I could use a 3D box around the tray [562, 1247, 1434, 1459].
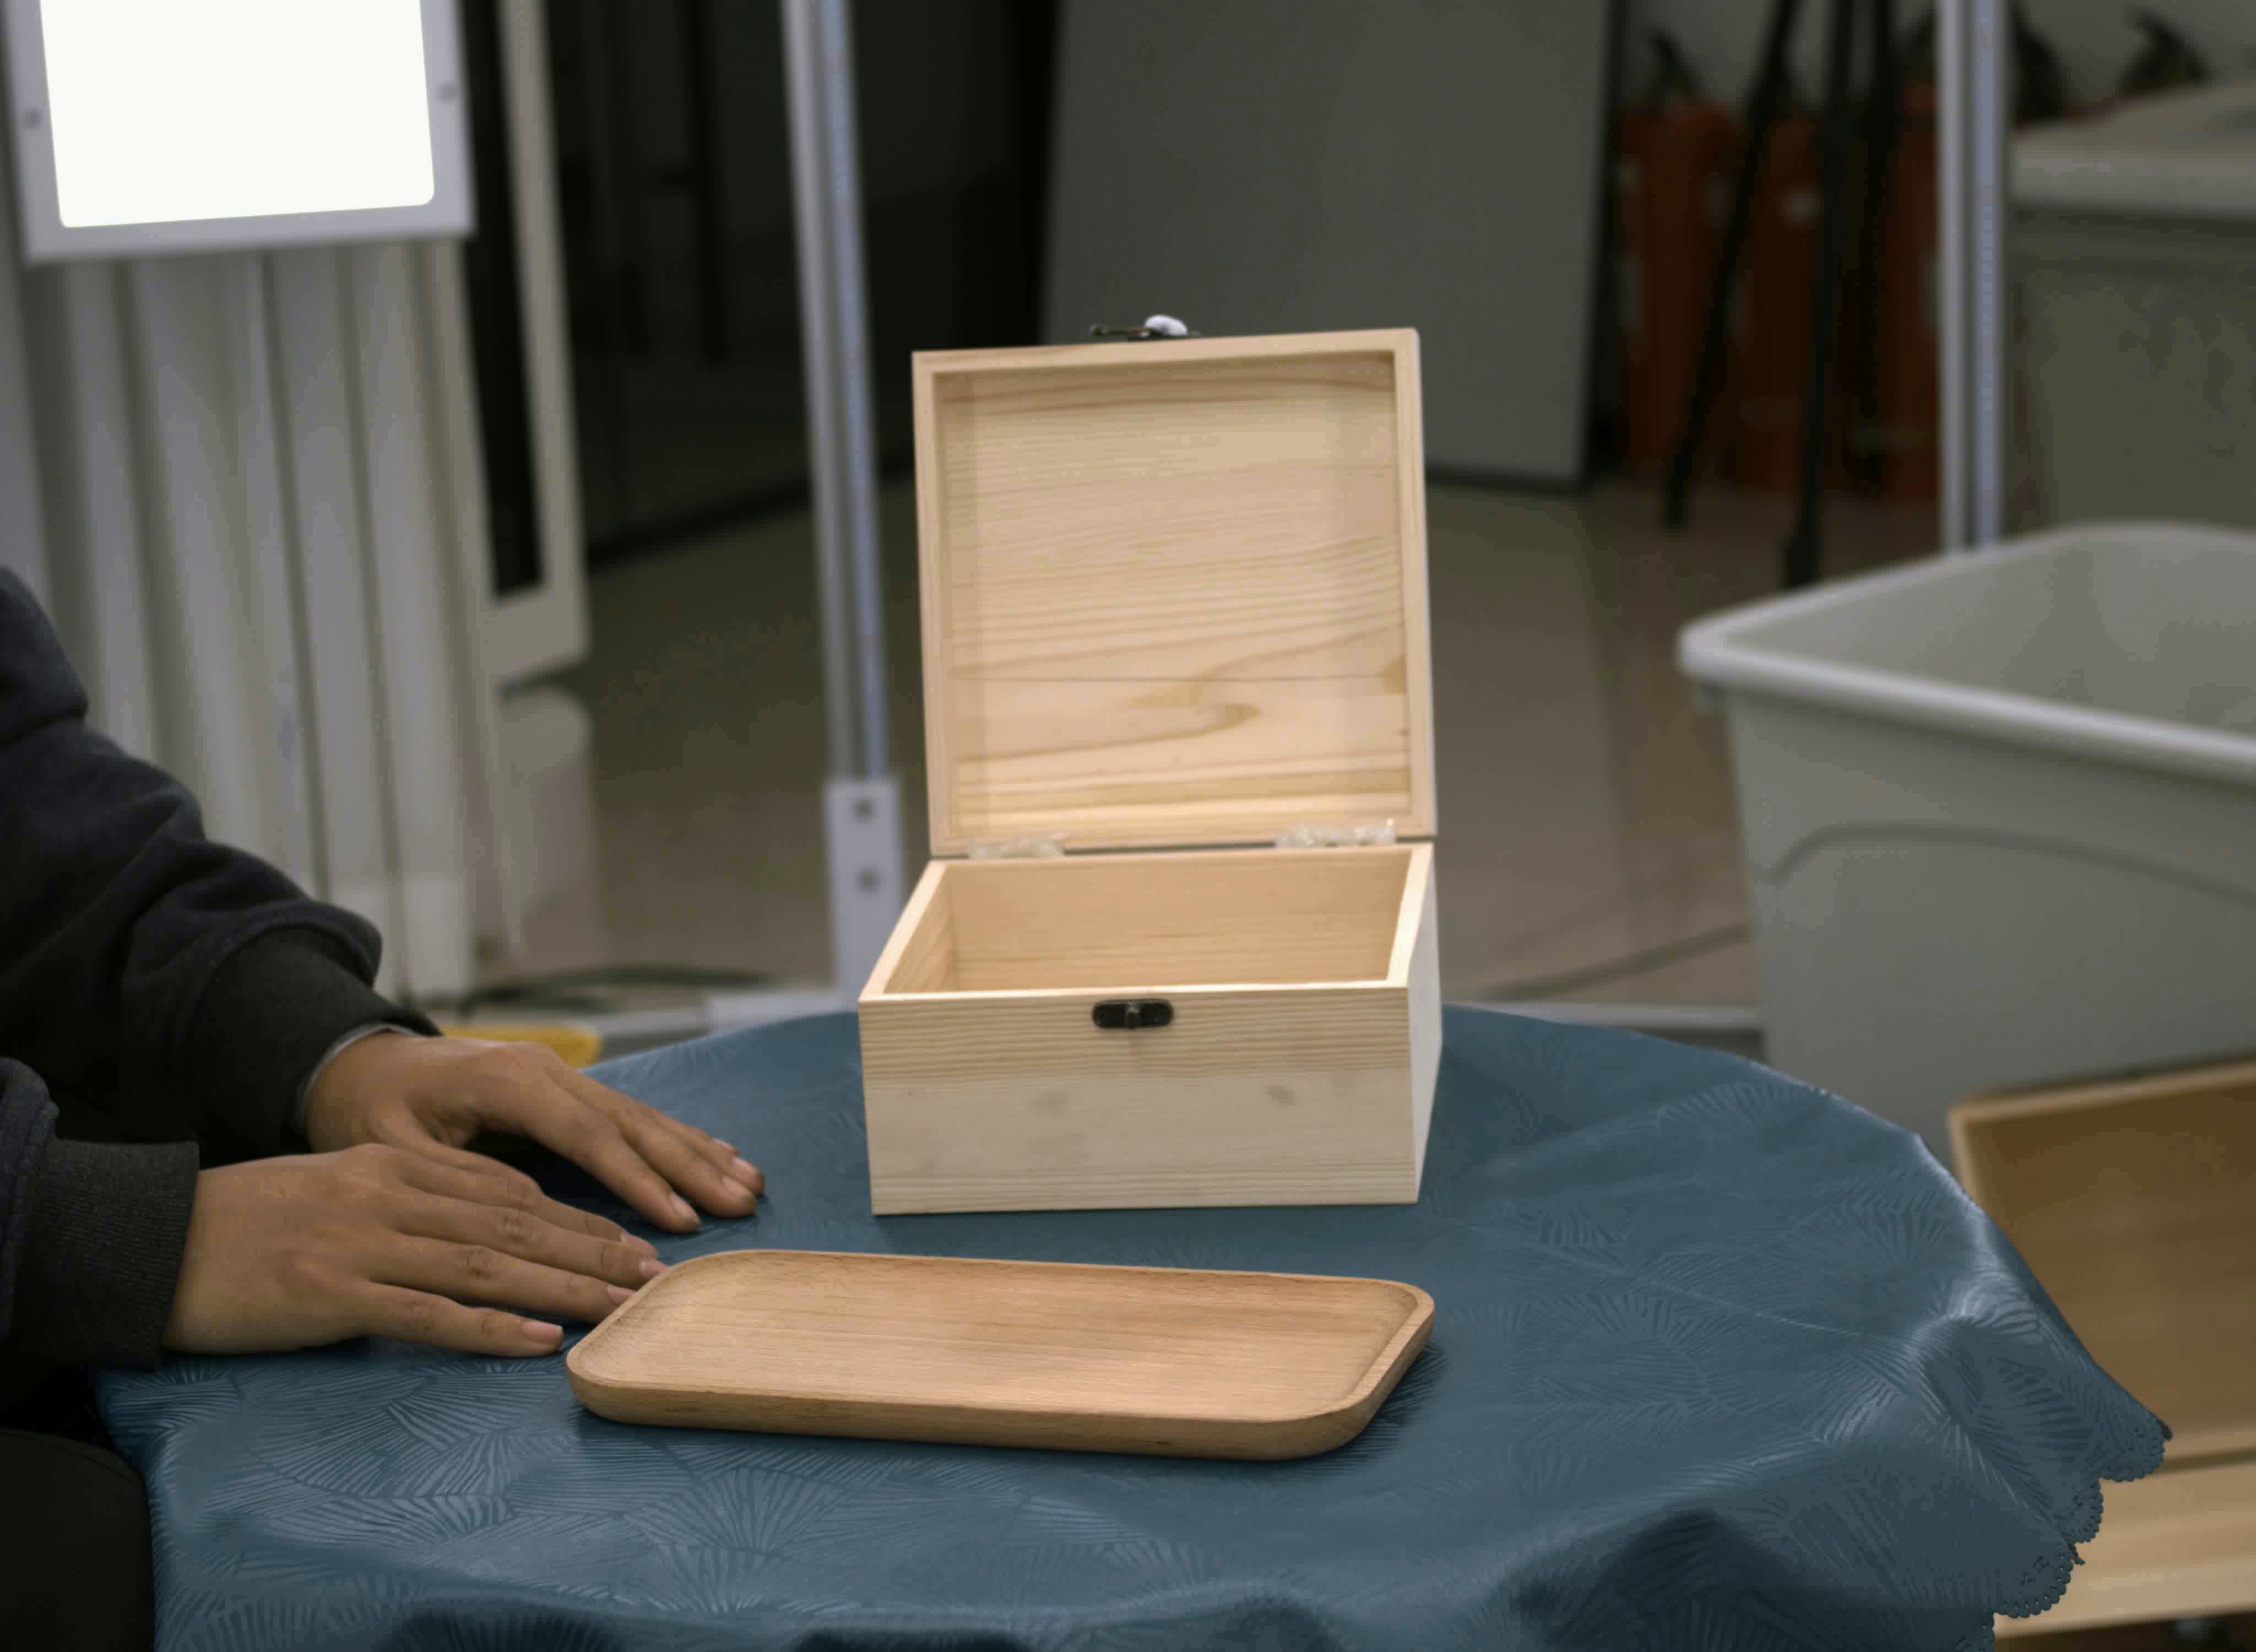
[{"bbox_3d":[-0.038,0.156,1.601,0.250,0.023,0.129,0,11,20],"label":"tray"}]

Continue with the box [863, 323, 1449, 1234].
[{"bbox_3d":[0.008,-0.023,1.841,0.180,0.256,0.264,-5,12,7],"label":"box"}]
